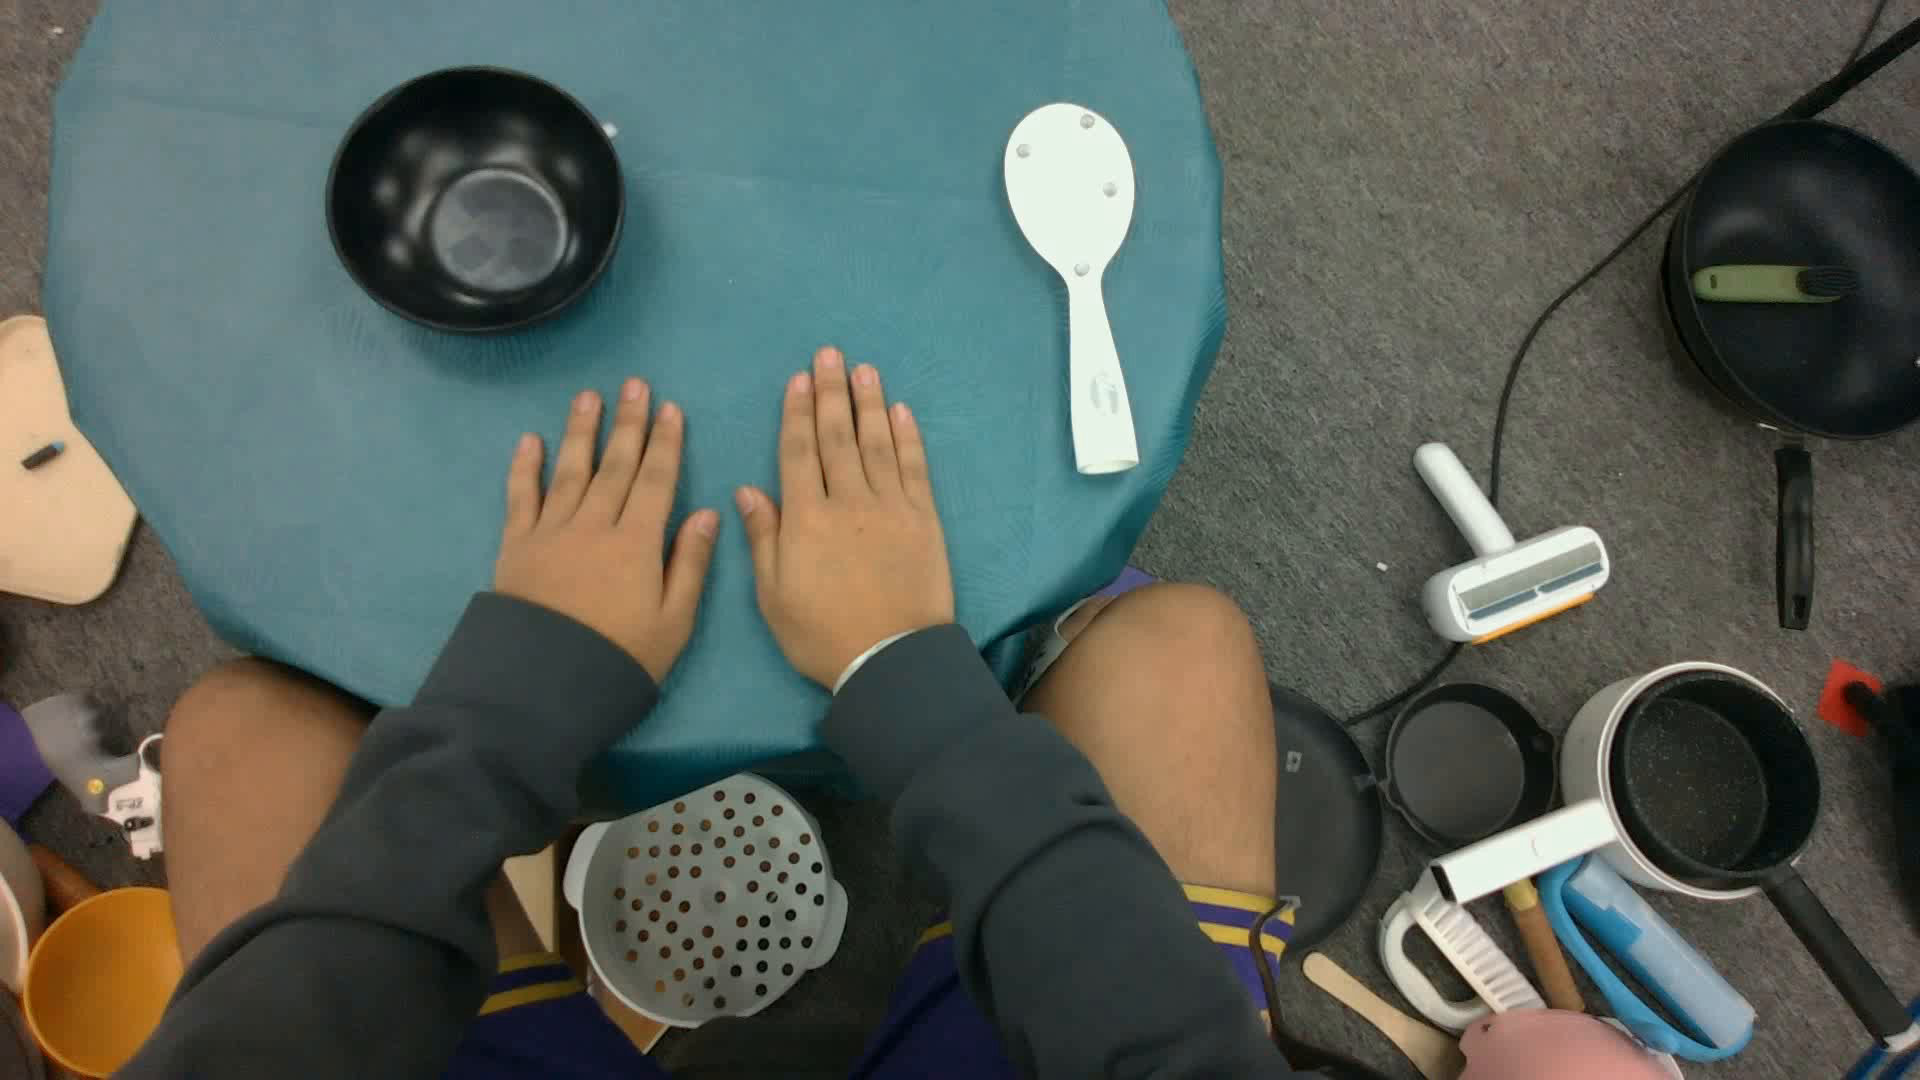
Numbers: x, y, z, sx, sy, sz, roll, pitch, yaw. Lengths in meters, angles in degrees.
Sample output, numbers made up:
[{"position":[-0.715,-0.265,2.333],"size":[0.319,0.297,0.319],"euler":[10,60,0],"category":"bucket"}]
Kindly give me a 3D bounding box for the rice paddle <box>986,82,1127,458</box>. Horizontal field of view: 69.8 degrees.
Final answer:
[{"position":[0.056,-0.146,0.717],"size":[0.069,0.029,0.205],"euler":[-6,81,-9],"category":"rice paddle"}]

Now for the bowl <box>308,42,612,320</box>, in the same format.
[{"position":[-0.240,-0.169,0.677],"size":[0.140,0.049,0.140],"euler":[1,80,-8],"category":"bowl"}]
